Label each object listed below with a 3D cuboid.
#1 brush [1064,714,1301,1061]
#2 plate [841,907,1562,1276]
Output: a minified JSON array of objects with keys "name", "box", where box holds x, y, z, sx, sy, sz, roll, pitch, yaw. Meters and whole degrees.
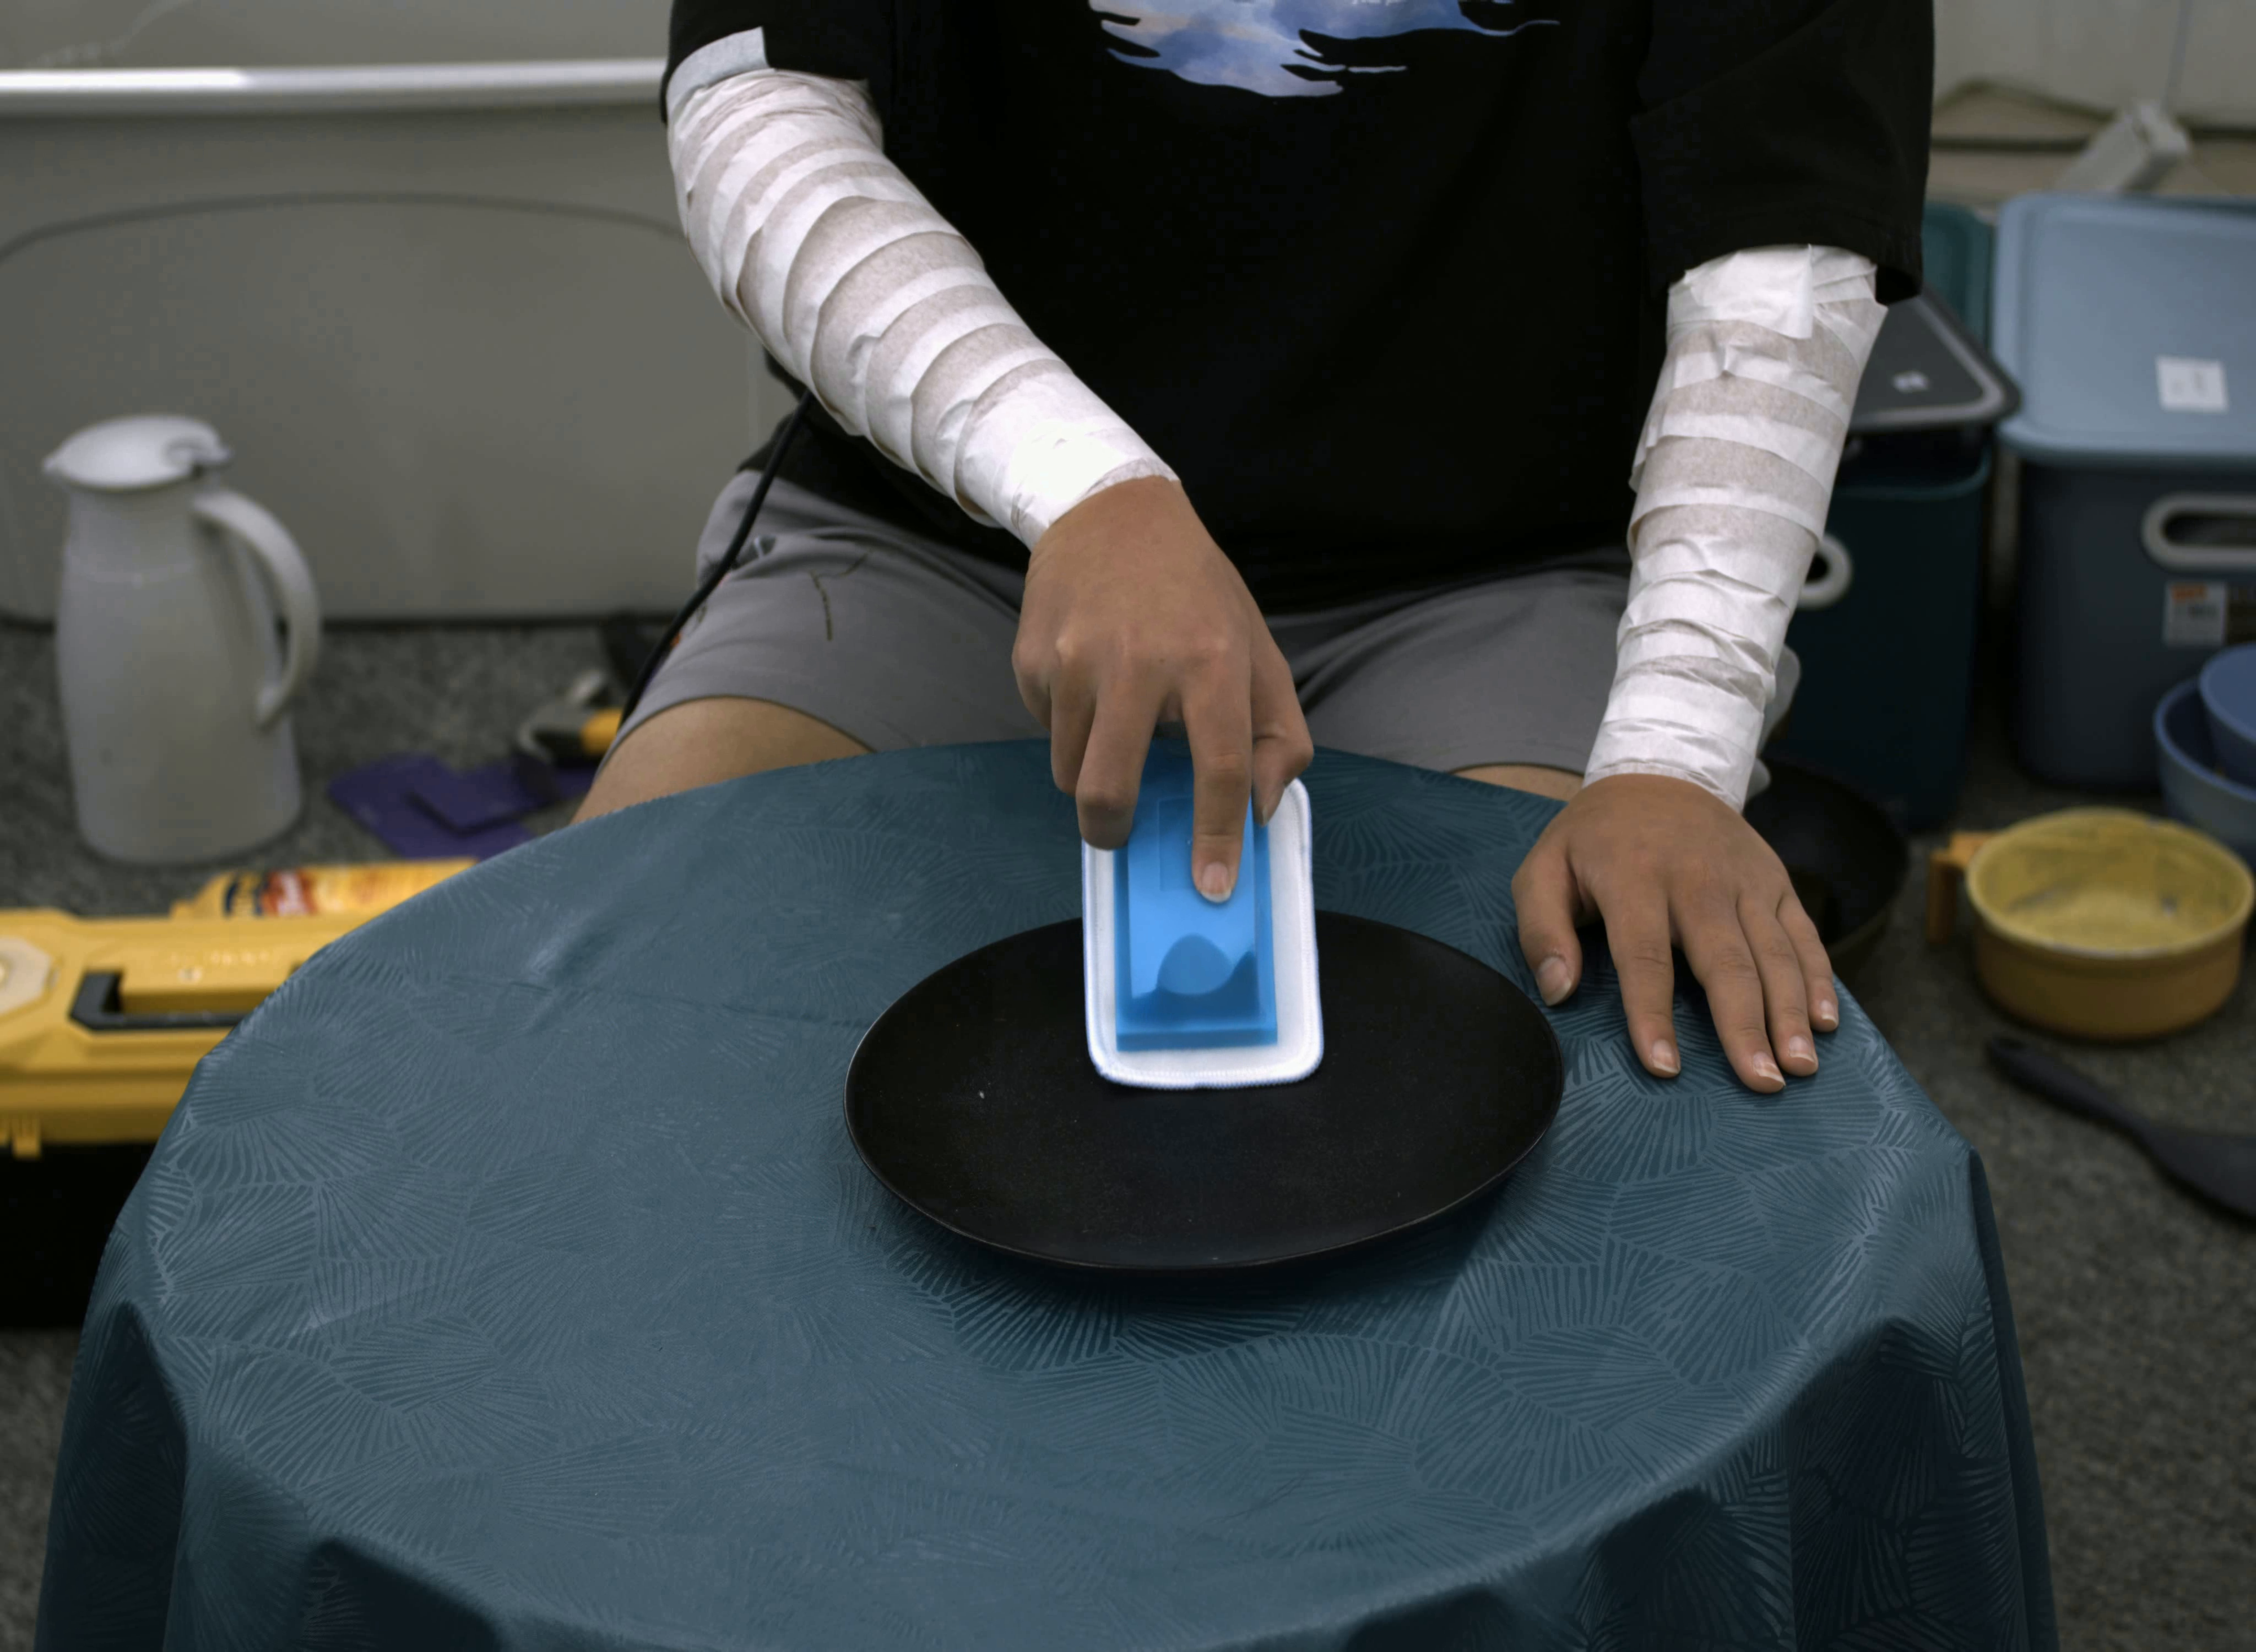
[{"name":"brush","box":[0.020,0.014,1.940,0.083,0.055,0.147,1,50,-3]},{"name":"plate","box":[0.025,0.092,1.890,0.243,0.023,0.248,-2,27,2]}]
